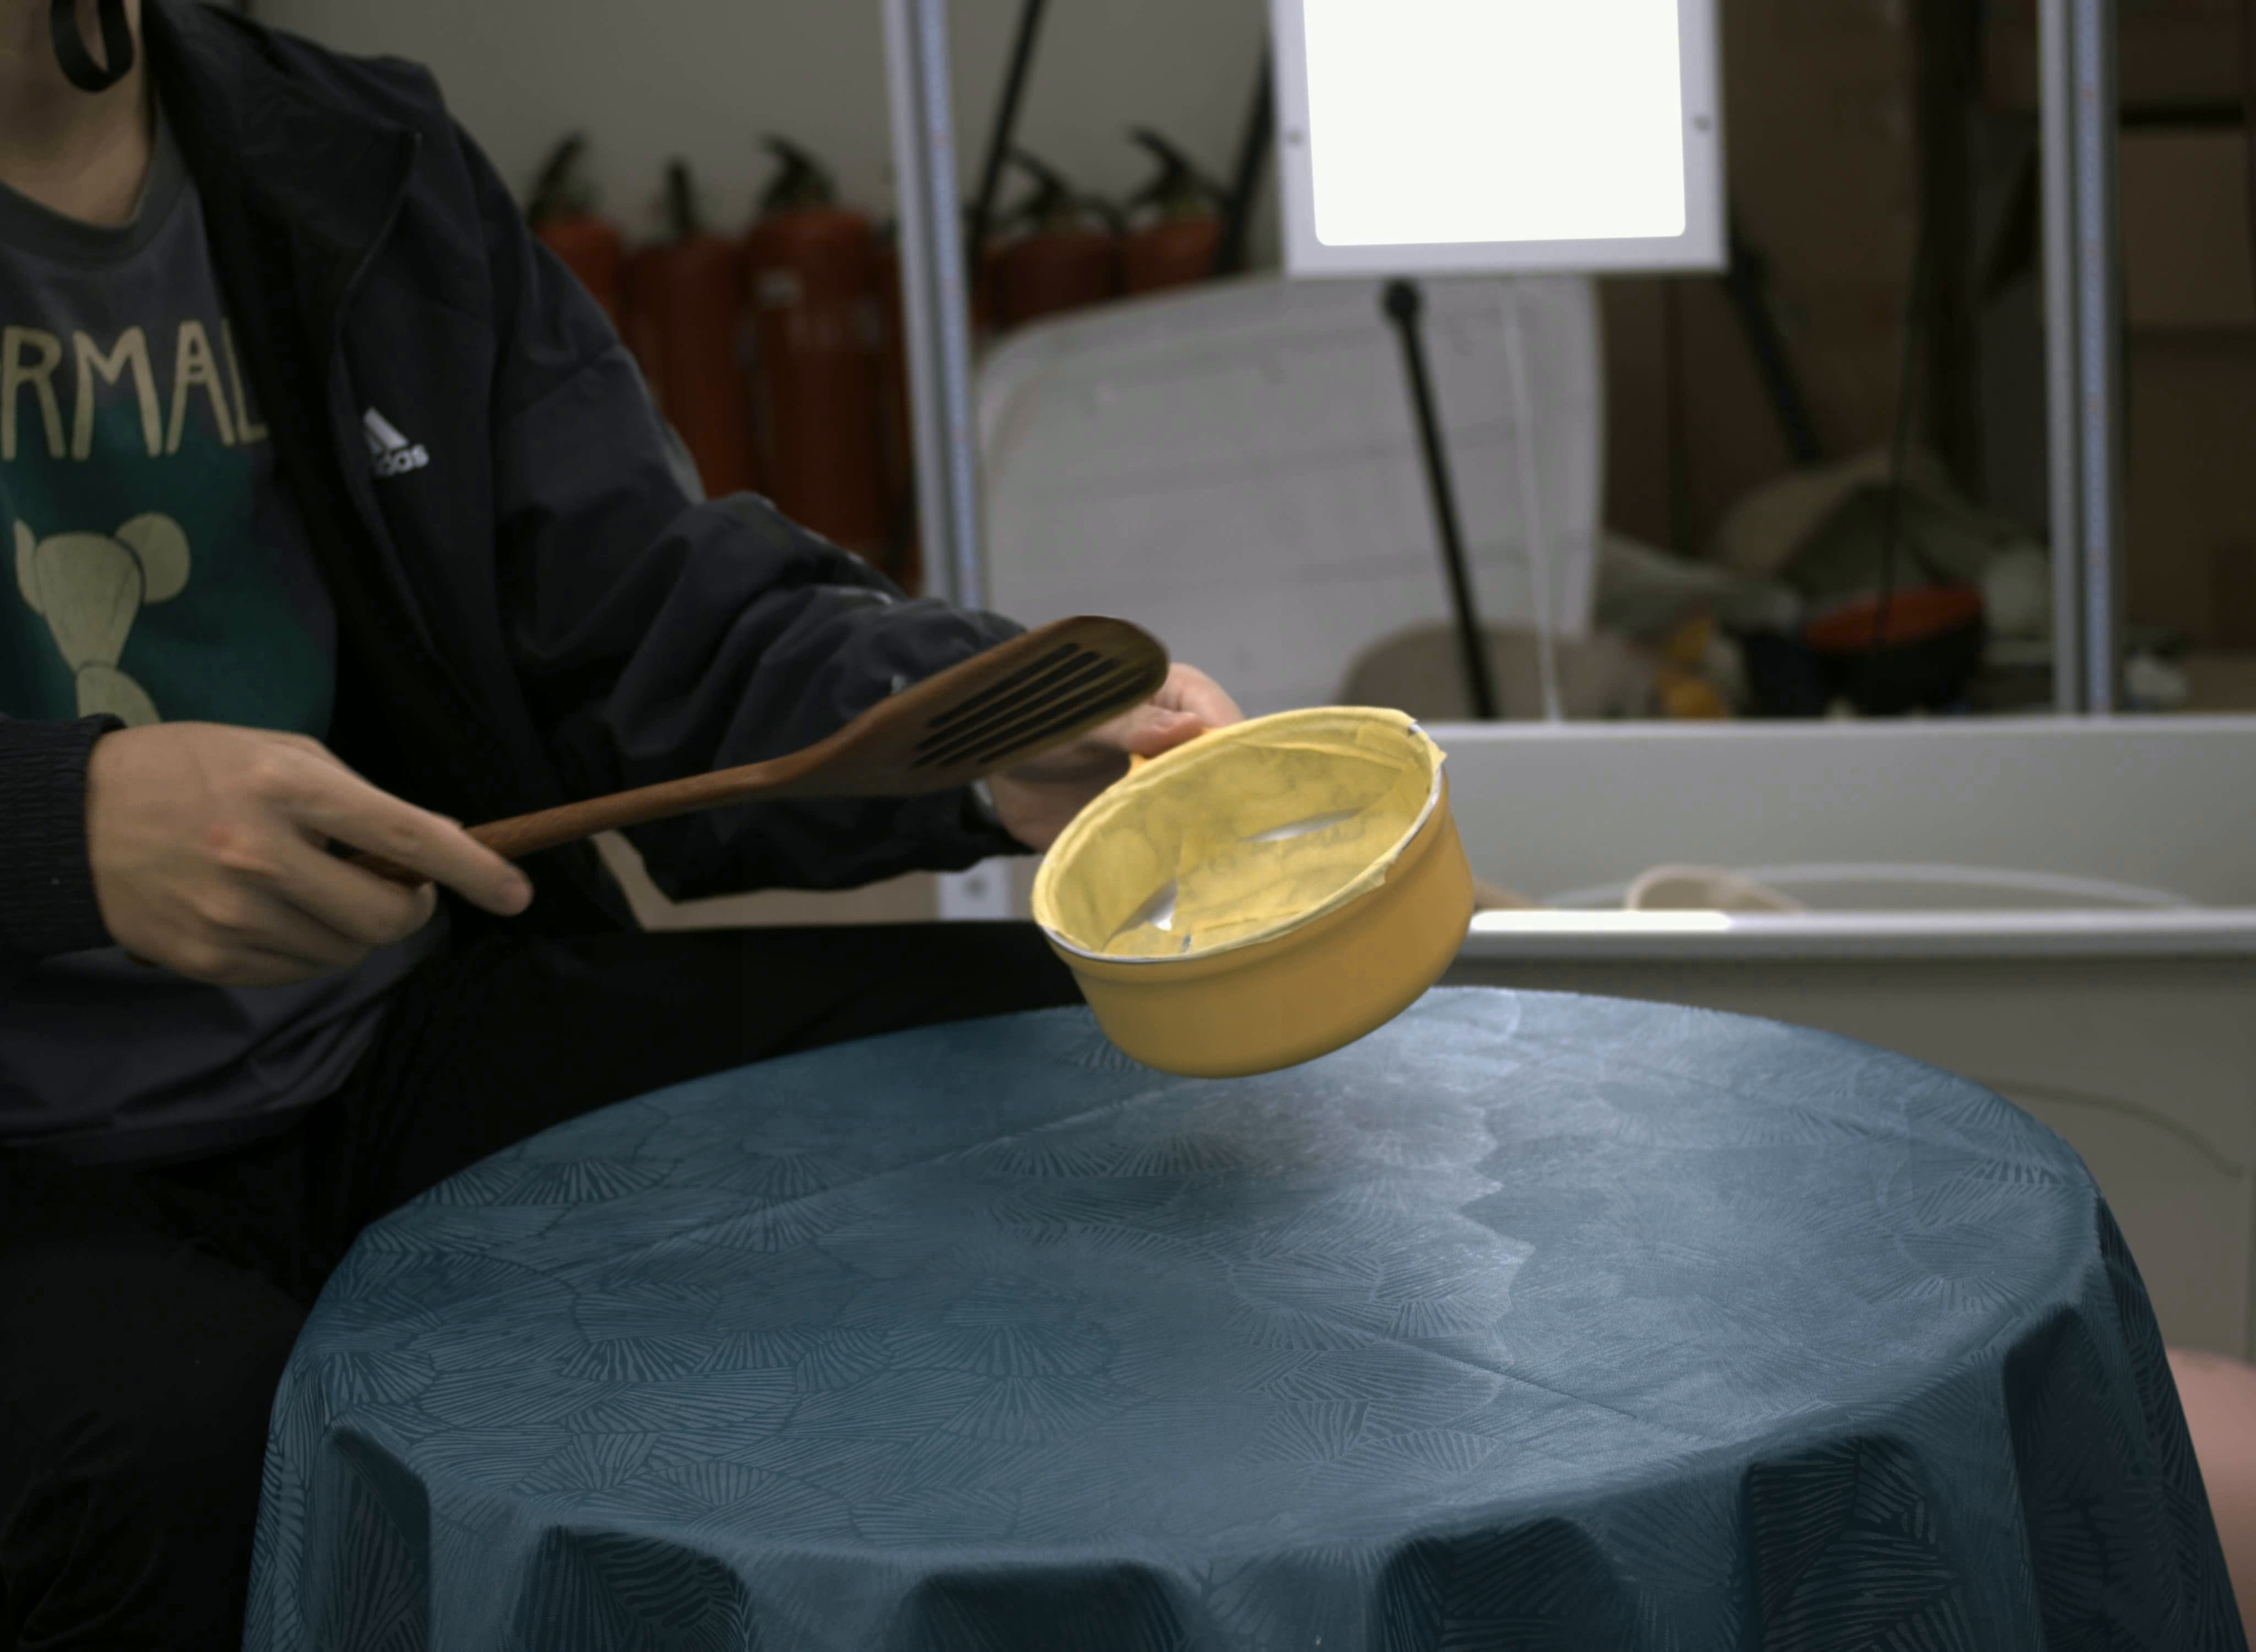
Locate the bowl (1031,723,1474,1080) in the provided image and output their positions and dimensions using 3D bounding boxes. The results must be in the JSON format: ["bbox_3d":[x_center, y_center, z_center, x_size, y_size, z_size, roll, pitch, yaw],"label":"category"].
[{"bbox_3d":[0.046,0.024,1.939,0.152,0.074,0.181,-28,27,-9],"label":"bowl"}]

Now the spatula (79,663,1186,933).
[{"bbox_3d":[-0.170,-0.001,1.858,0.389,0.024,0.085,-9,-25,12],"label":"spatula"}]
